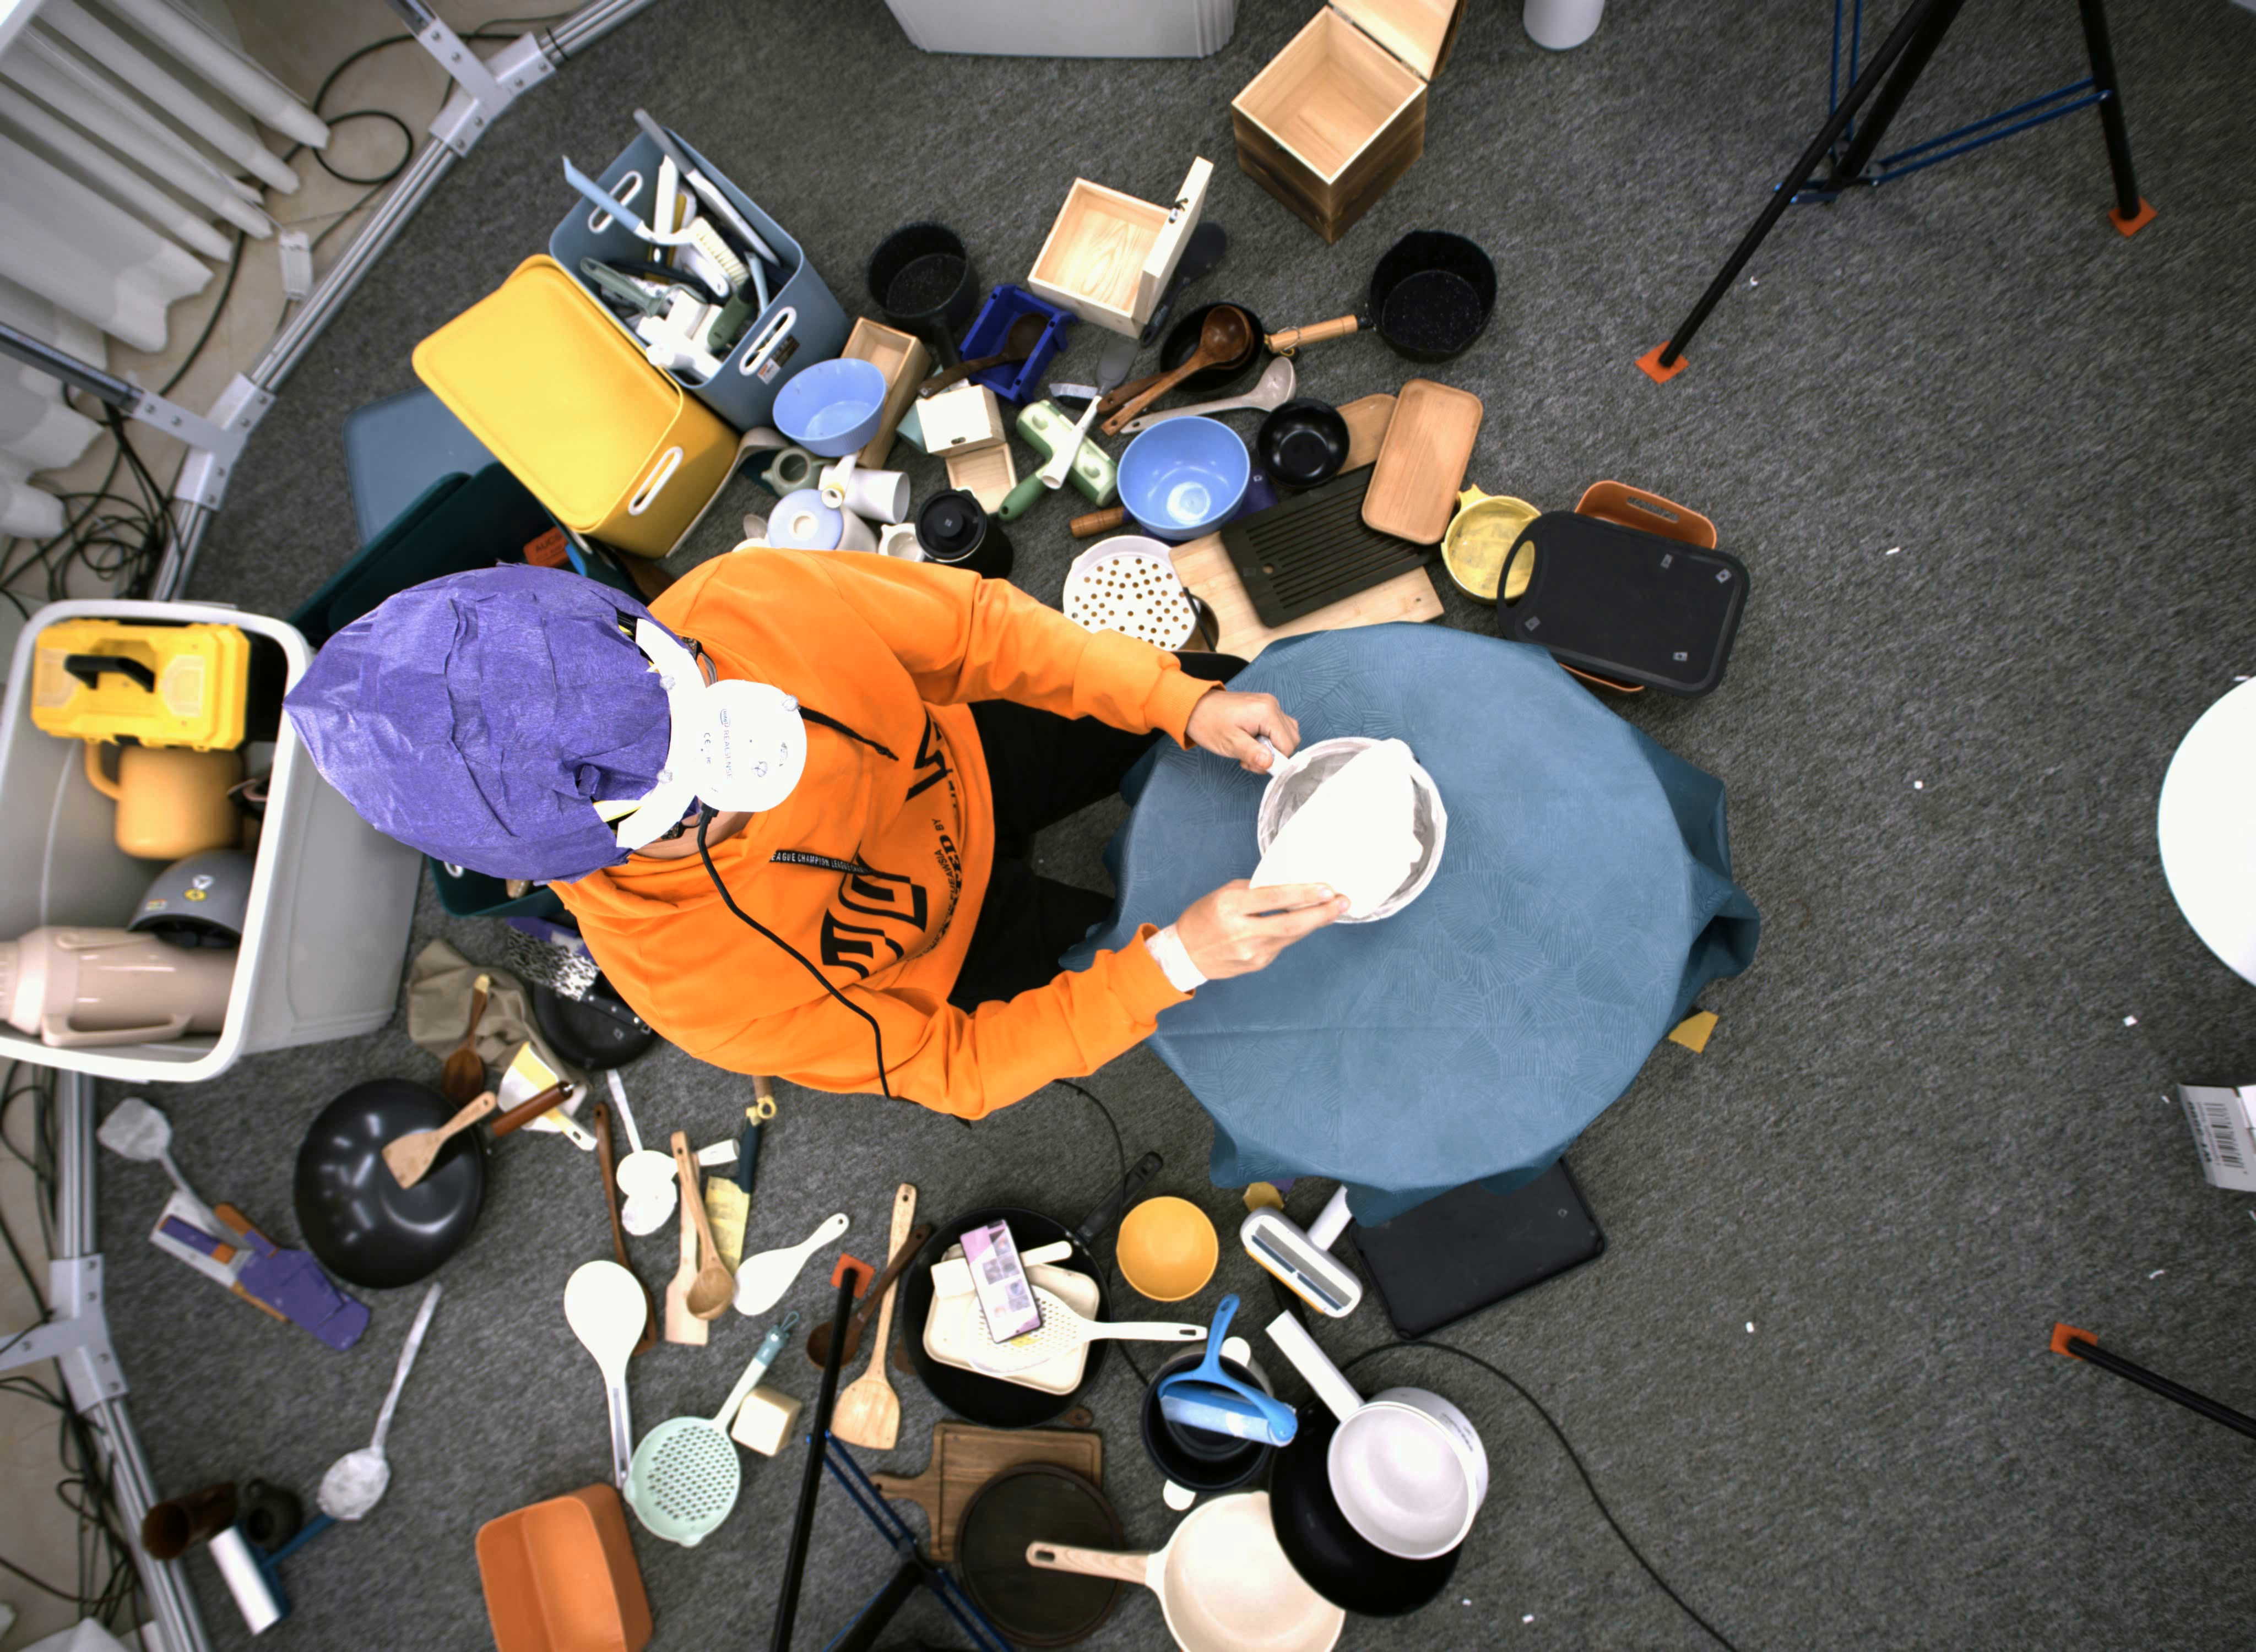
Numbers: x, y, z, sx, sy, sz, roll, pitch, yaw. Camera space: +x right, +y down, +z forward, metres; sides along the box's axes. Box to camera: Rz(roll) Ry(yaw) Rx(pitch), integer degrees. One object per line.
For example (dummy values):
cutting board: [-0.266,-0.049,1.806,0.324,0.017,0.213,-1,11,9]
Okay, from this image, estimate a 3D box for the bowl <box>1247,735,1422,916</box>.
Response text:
bowl: [0.204,0.022,1.228,0.077,0.205,0.204,42,93,23]

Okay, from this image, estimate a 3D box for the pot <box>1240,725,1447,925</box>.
pot: [0.203,-0.016,1.367,0.233,0.135,0.180,40,101,7]
